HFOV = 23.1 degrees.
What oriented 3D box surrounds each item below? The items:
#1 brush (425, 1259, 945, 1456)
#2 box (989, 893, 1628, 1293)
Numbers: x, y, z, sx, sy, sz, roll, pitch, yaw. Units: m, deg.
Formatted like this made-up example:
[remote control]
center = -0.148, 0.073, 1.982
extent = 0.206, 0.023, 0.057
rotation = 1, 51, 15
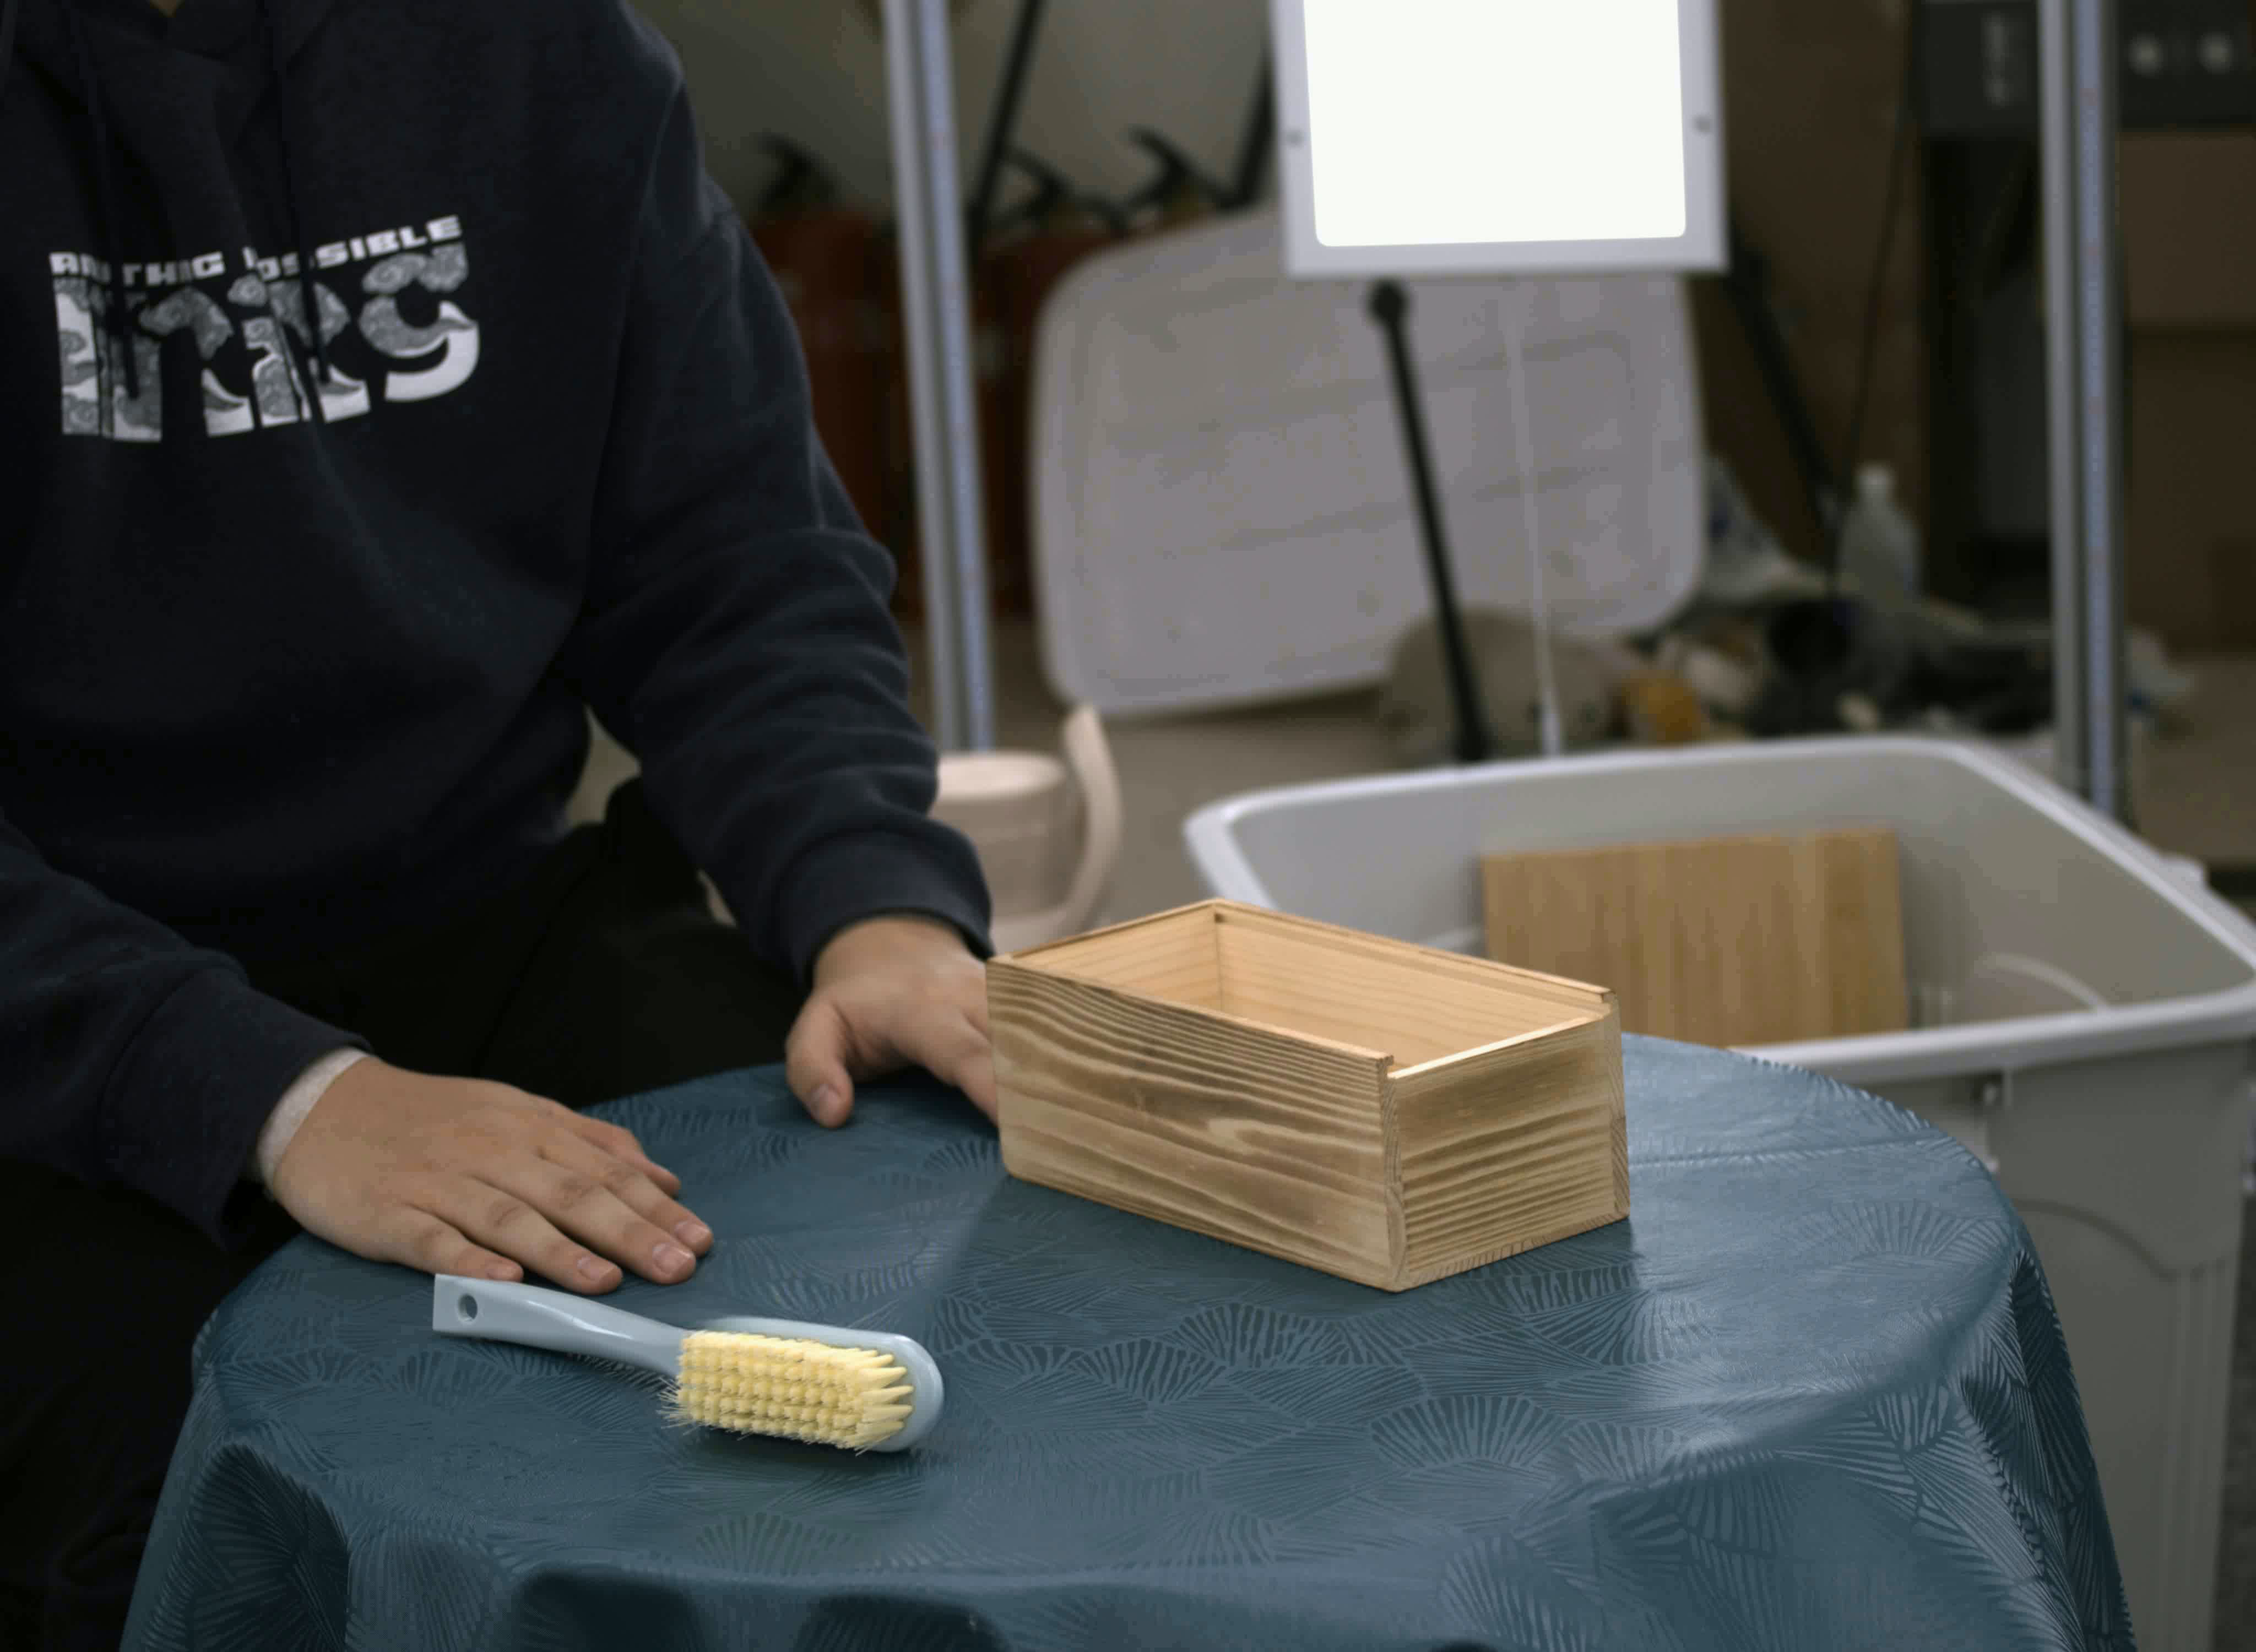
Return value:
[brush]
center = -0.150, 0.162, 1.723
extent = 0.048, 0.038, 0.234
rotation = -8, 12, -43
[box]
center = 0.059, 0.087, 1.869
extent = 0.105, 0.080, 0.216
rotation = -14, 17, -35
